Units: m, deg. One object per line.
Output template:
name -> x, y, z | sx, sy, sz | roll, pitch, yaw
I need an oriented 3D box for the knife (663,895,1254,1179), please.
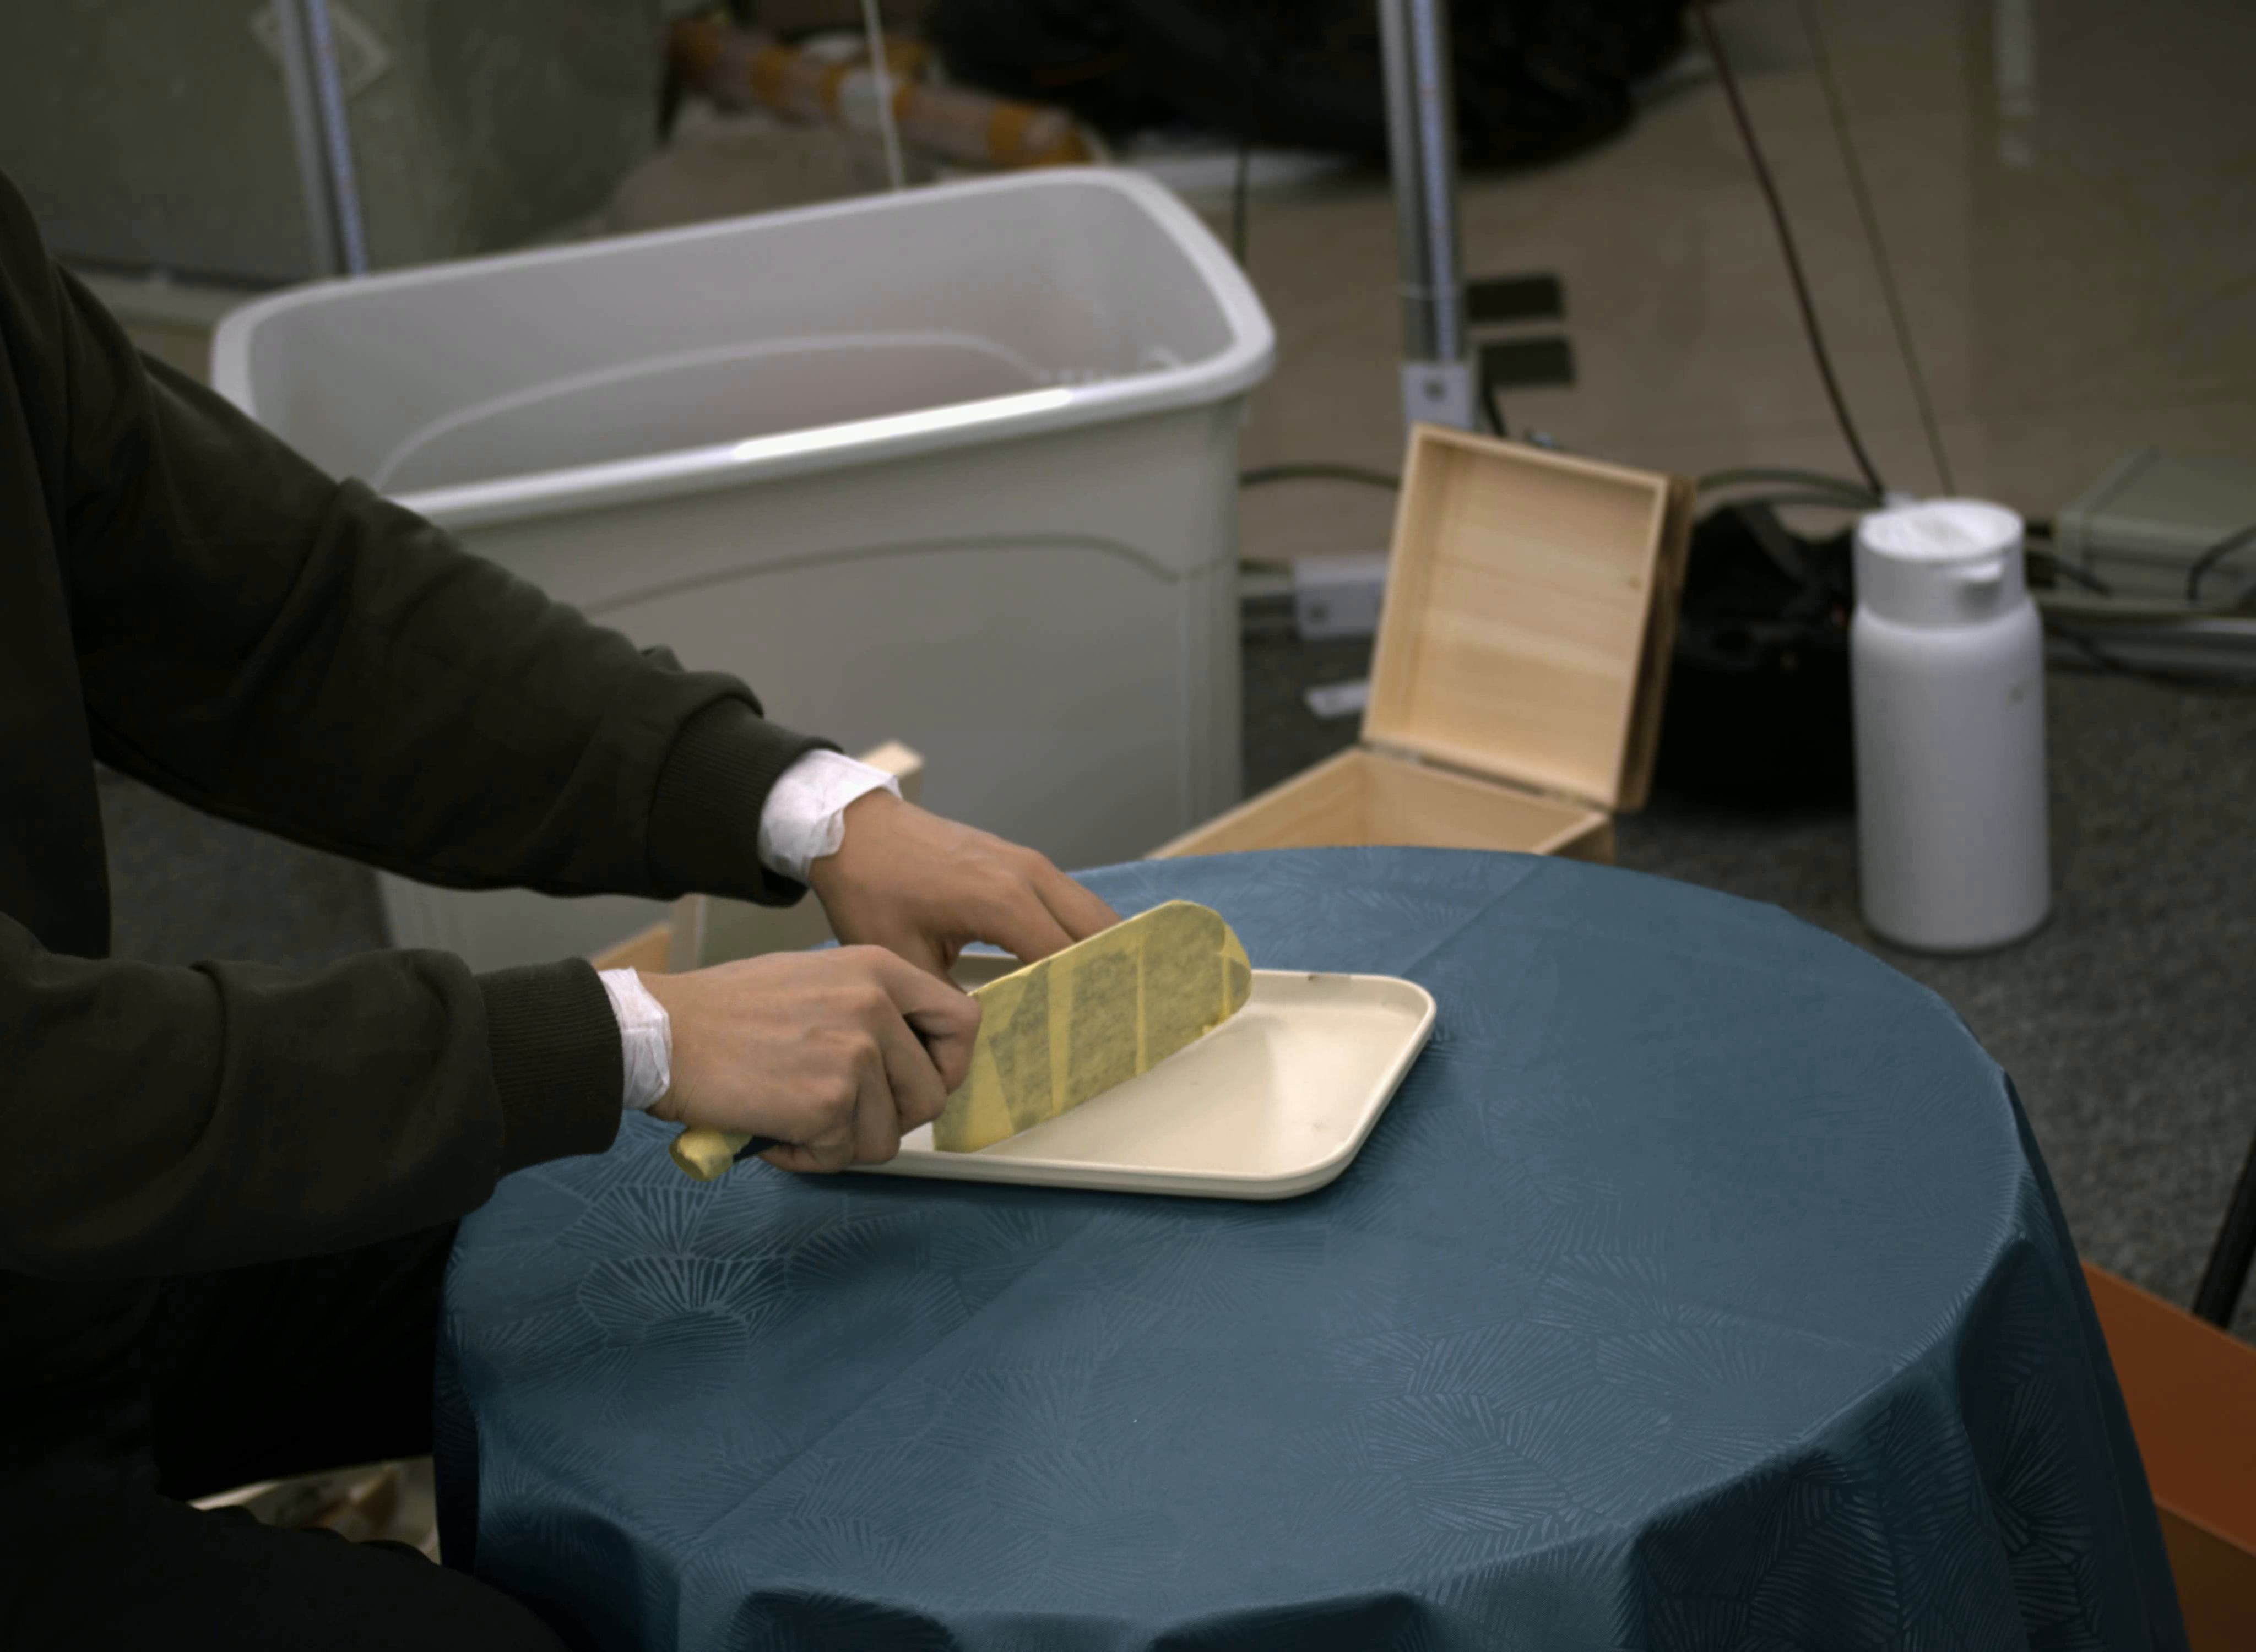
knife -> -0.058, 0.091, 2.168 | 0.287, 0.082, 0.027 | -19, 32, -36

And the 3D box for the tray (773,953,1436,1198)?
tray -> -0.009, 0.098, 2.221 | 0.239, 0.018, 0.169 | 3, 26, 20
